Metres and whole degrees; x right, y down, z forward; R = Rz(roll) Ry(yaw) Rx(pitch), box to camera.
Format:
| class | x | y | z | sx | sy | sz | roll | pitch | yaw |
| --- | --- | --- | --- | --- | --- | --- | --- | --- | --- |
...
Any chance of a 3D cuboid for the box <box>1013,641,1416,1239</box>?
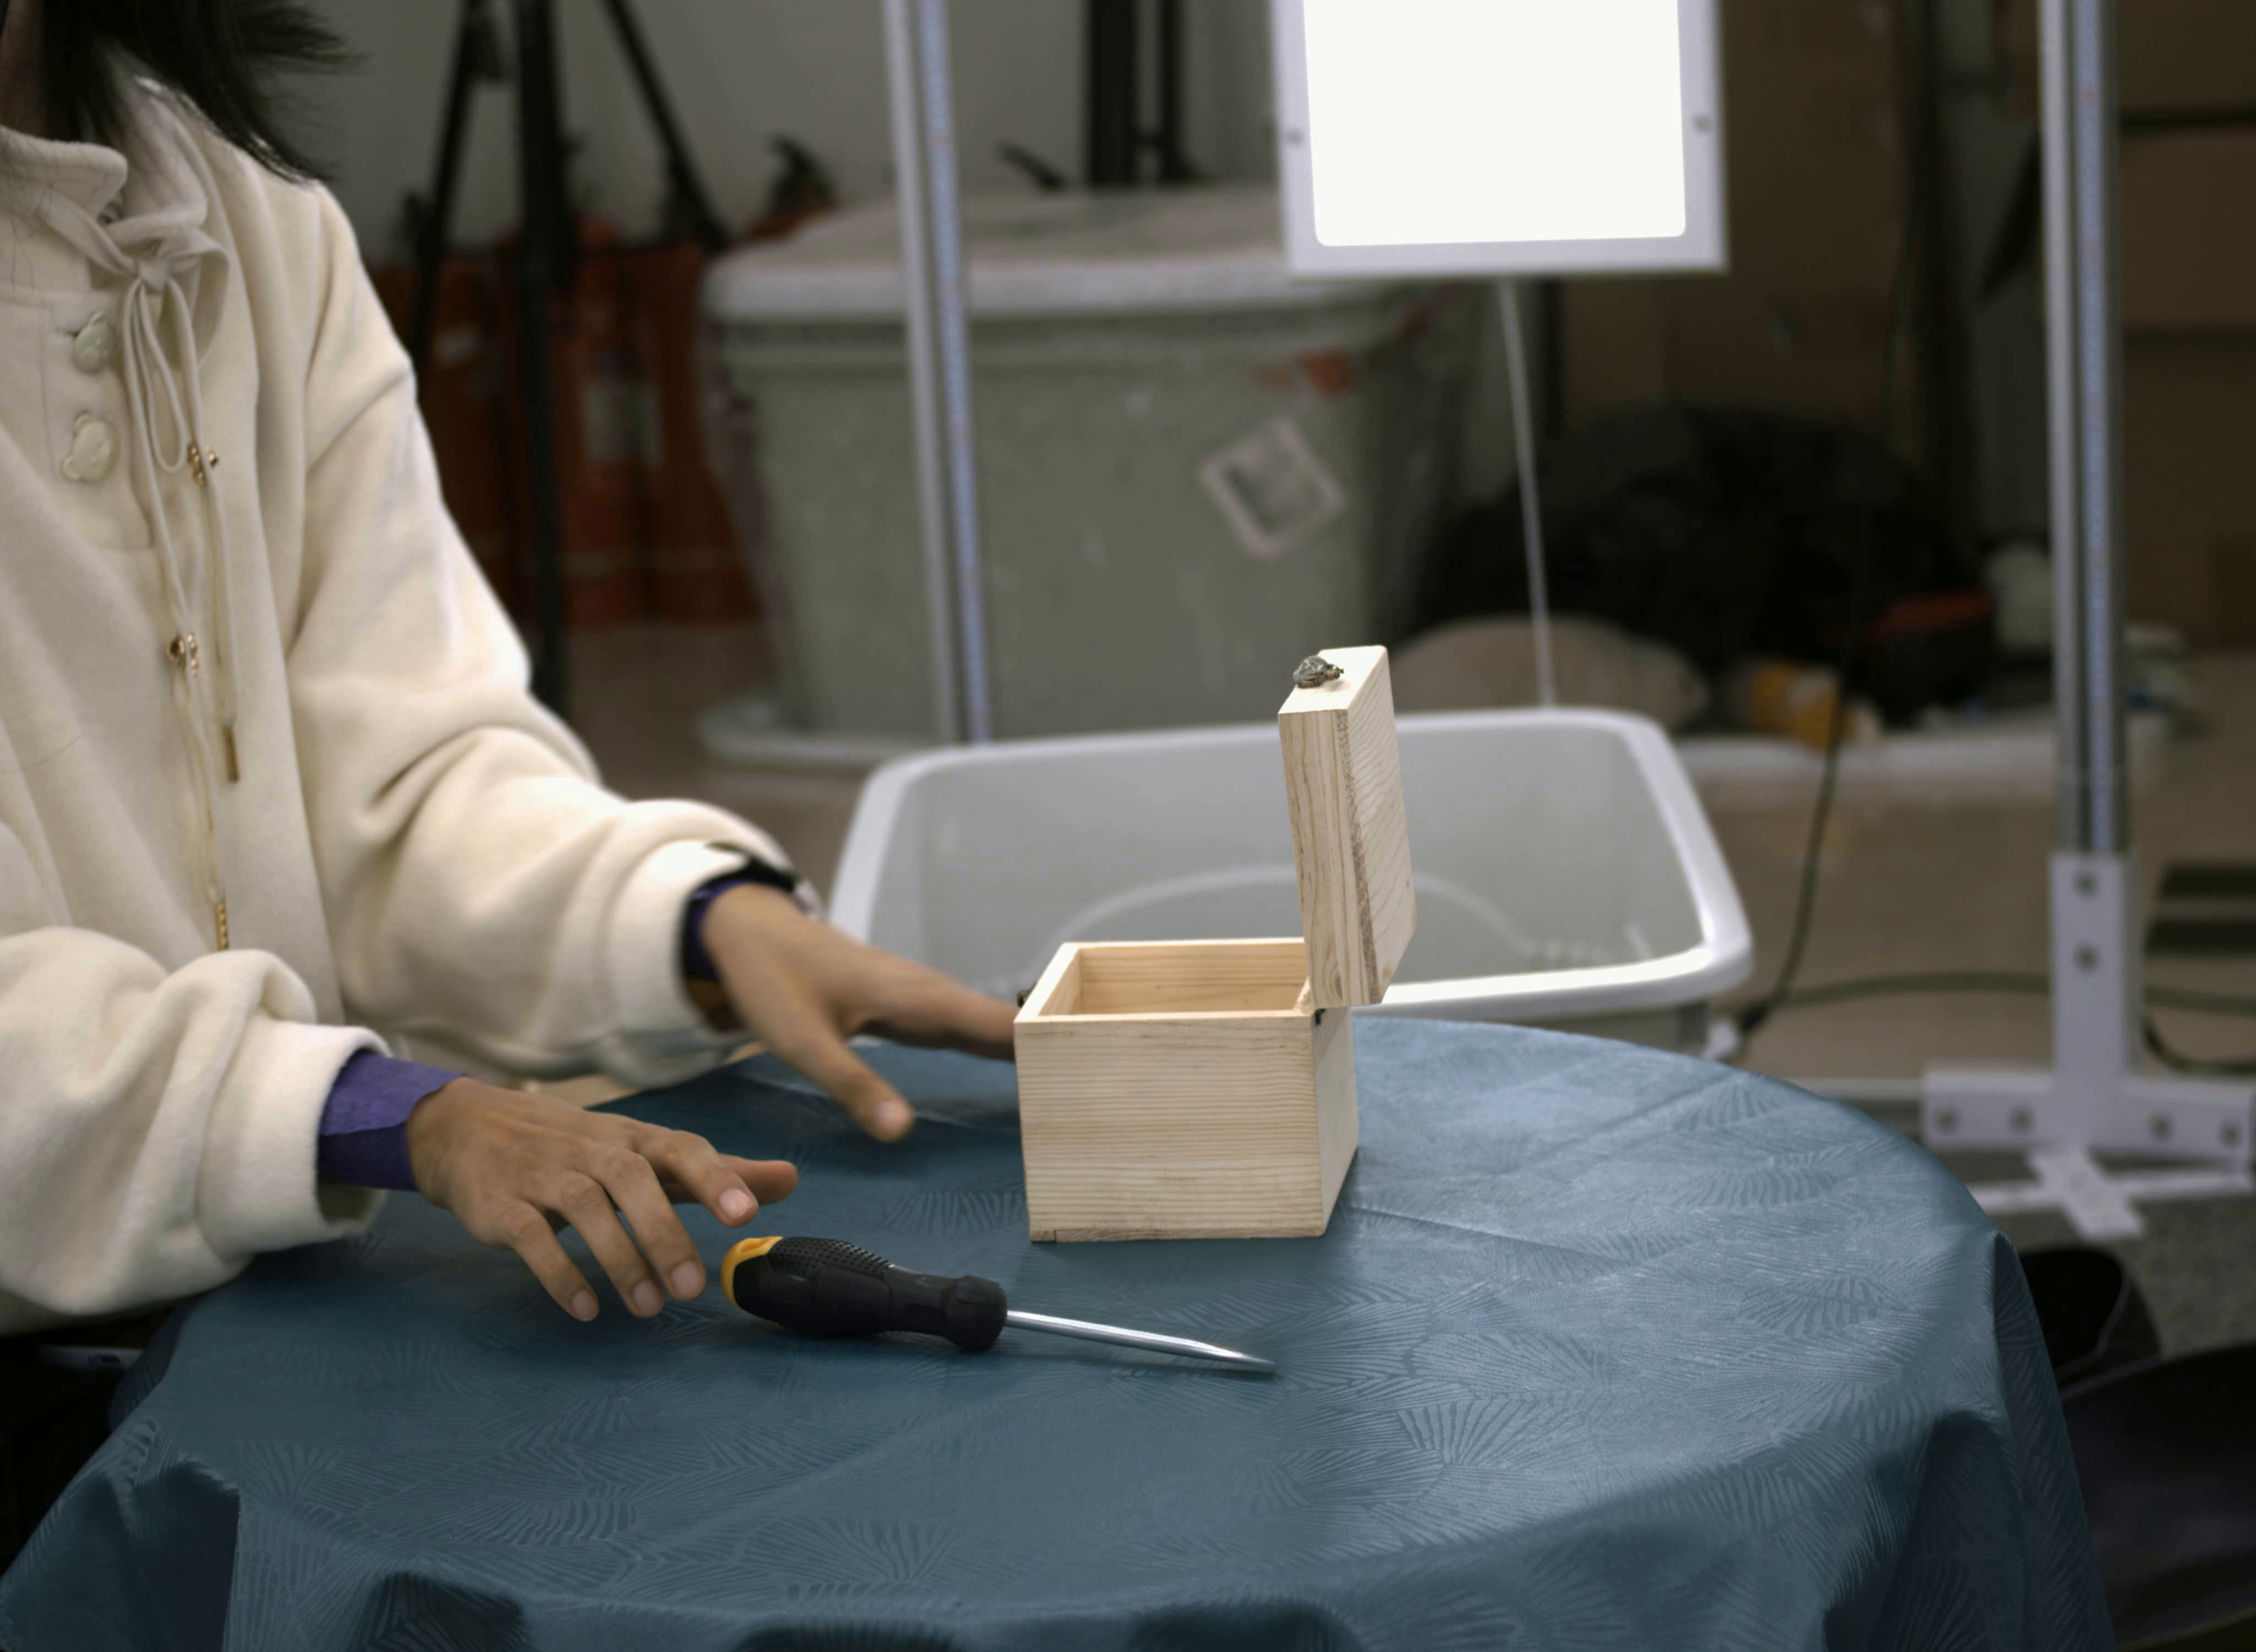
| class | x | y | z | sx | sy | sz | roll | pitch | yaw |
| --- | --- | --- | --- | --- | --- | --- | --- | --- | --- |
| box | 0.027 | 0.036 | 1.868 | 0.135 | 0.185 | 0.101 | -1 | 14 | 11 |

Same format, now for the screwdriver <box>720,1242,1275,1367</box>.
| class | x | y | z | sx | sy | sz | roll | pitch | yaw |
| --- | --- | --- | --- | --- | --- | --- | --- | --- | --- |
| screwdriver | -0.044 | 0.157 | 1.746 | 0.201 | 0.031 | 0.031 | 7 | 17 | 32 |
